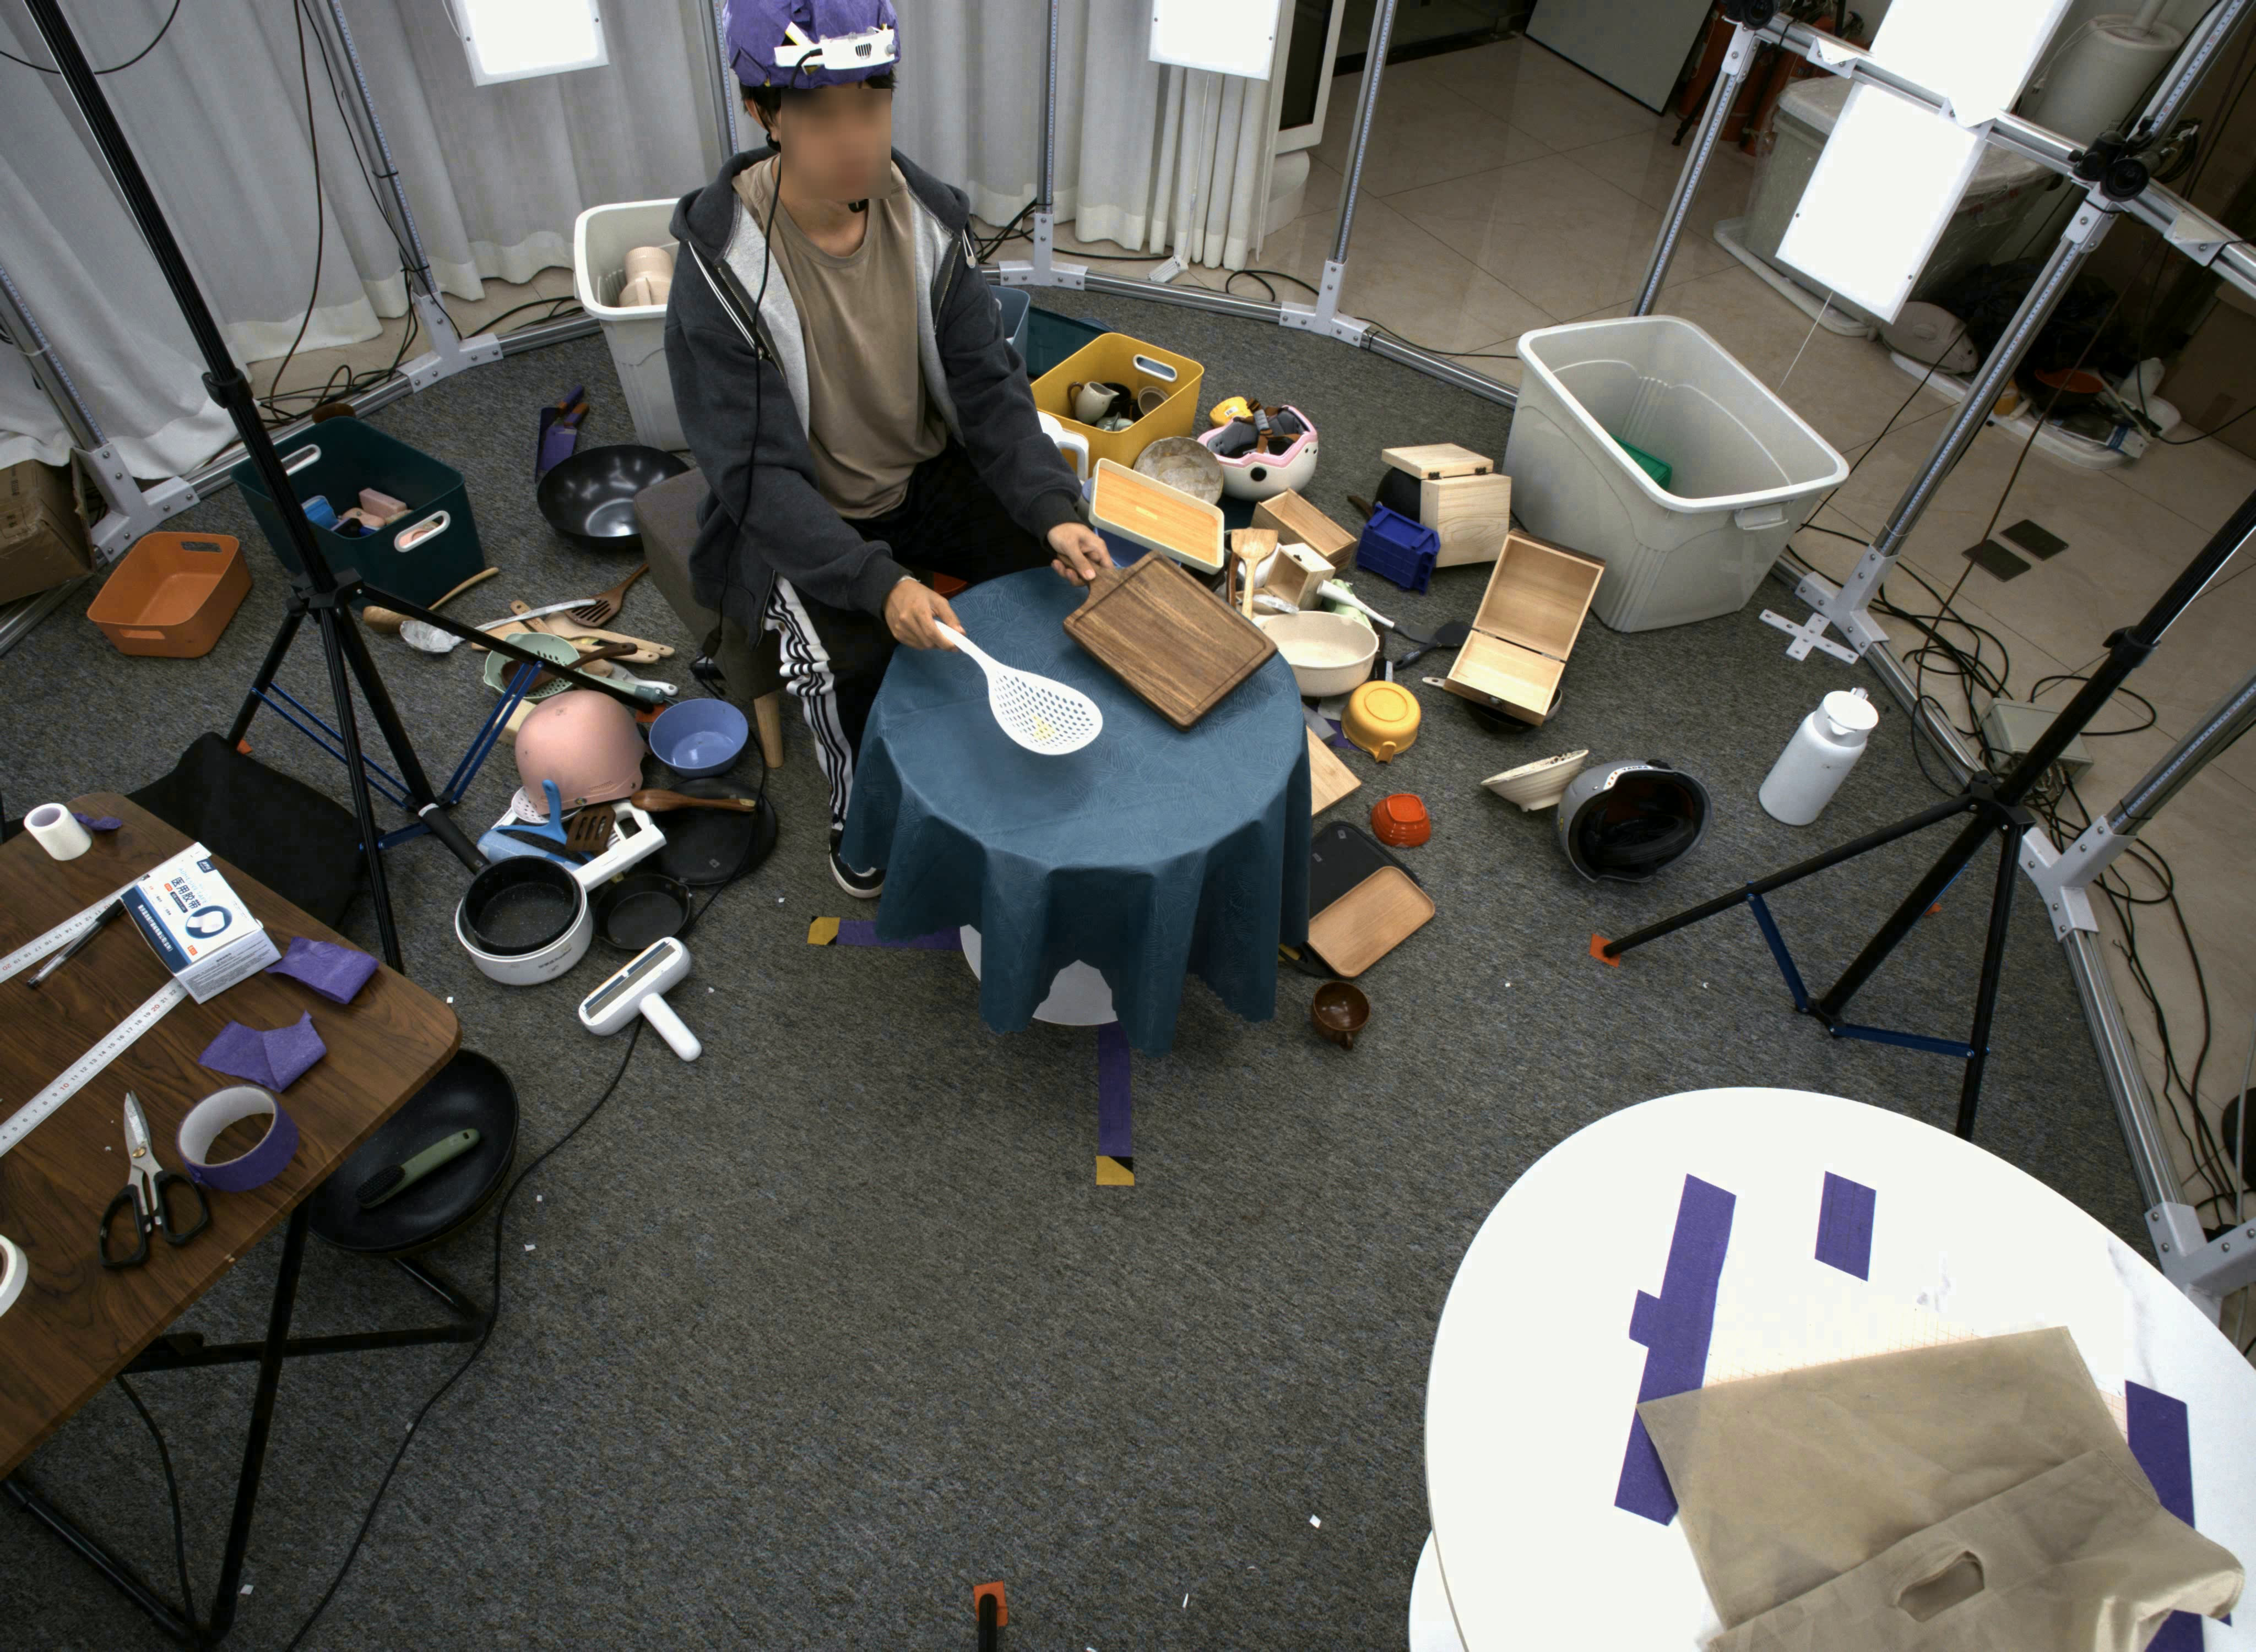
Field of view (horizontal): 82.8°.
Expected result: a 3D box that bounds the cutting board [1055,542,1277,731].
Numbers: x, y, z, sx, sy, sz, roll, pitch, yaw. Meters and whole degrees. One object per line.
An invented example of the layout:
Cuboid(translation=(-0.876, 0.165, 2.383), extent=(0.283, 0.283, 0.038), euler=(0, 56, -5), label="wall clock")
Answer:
Cuboid(translation=(0.024, -0.305, 1.863), extent=(0.202, 0.023, 0.357), euler=(-41, 68, -19), label="cutting board")

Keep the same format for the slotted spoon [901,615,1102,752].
Cuboid(translation=(-0.183, -0.204, 1.738), extent=(0.138, 0.049, 0.353), euler=(-32, 63, -35), label="slotted spoon")
